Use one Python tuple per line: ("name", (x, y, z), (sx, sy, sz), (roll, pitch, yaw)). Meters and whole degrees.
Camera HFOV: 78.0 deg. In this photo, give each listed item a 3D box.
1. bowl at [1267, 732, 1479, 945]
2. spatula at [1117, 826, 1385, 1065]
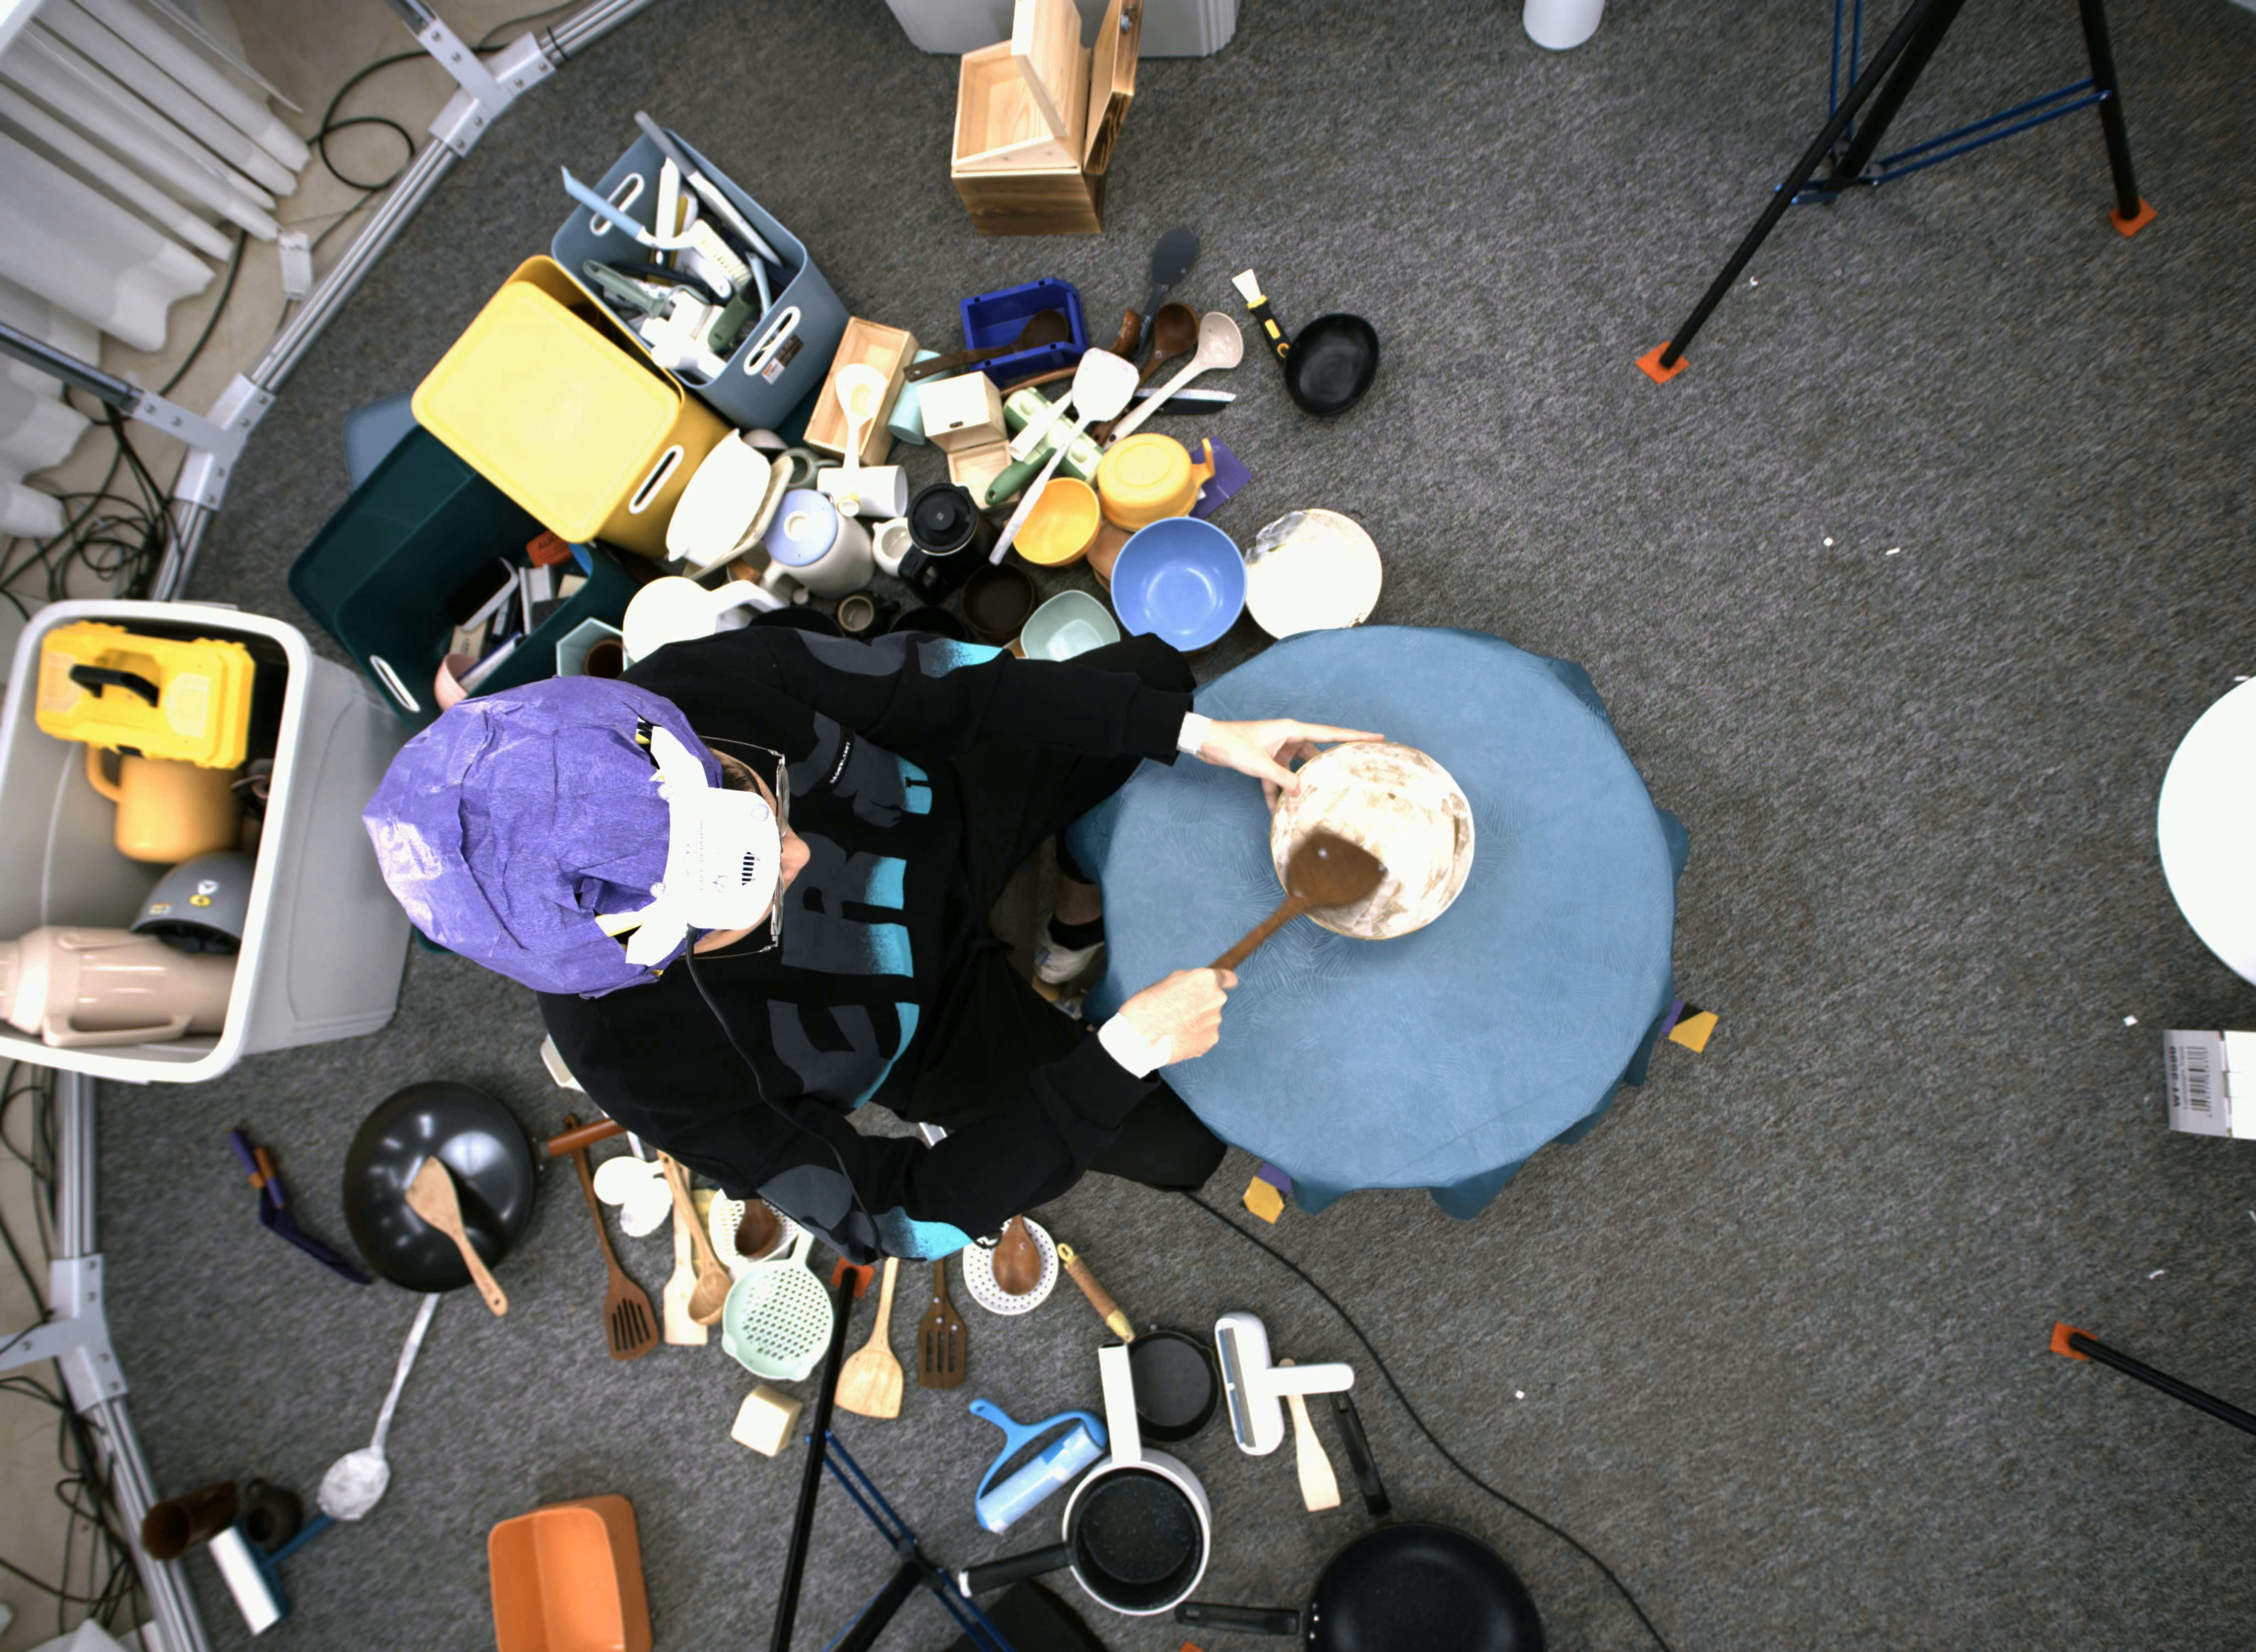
("bowl", (0.253, 0.013, 1.418), (0.215, 0.094, 0.215), (0, 92, 14))
("spatula", (0.116, 0.111, 1.329), (0.095, 0.016, 0.378), (34, 50, 23))
